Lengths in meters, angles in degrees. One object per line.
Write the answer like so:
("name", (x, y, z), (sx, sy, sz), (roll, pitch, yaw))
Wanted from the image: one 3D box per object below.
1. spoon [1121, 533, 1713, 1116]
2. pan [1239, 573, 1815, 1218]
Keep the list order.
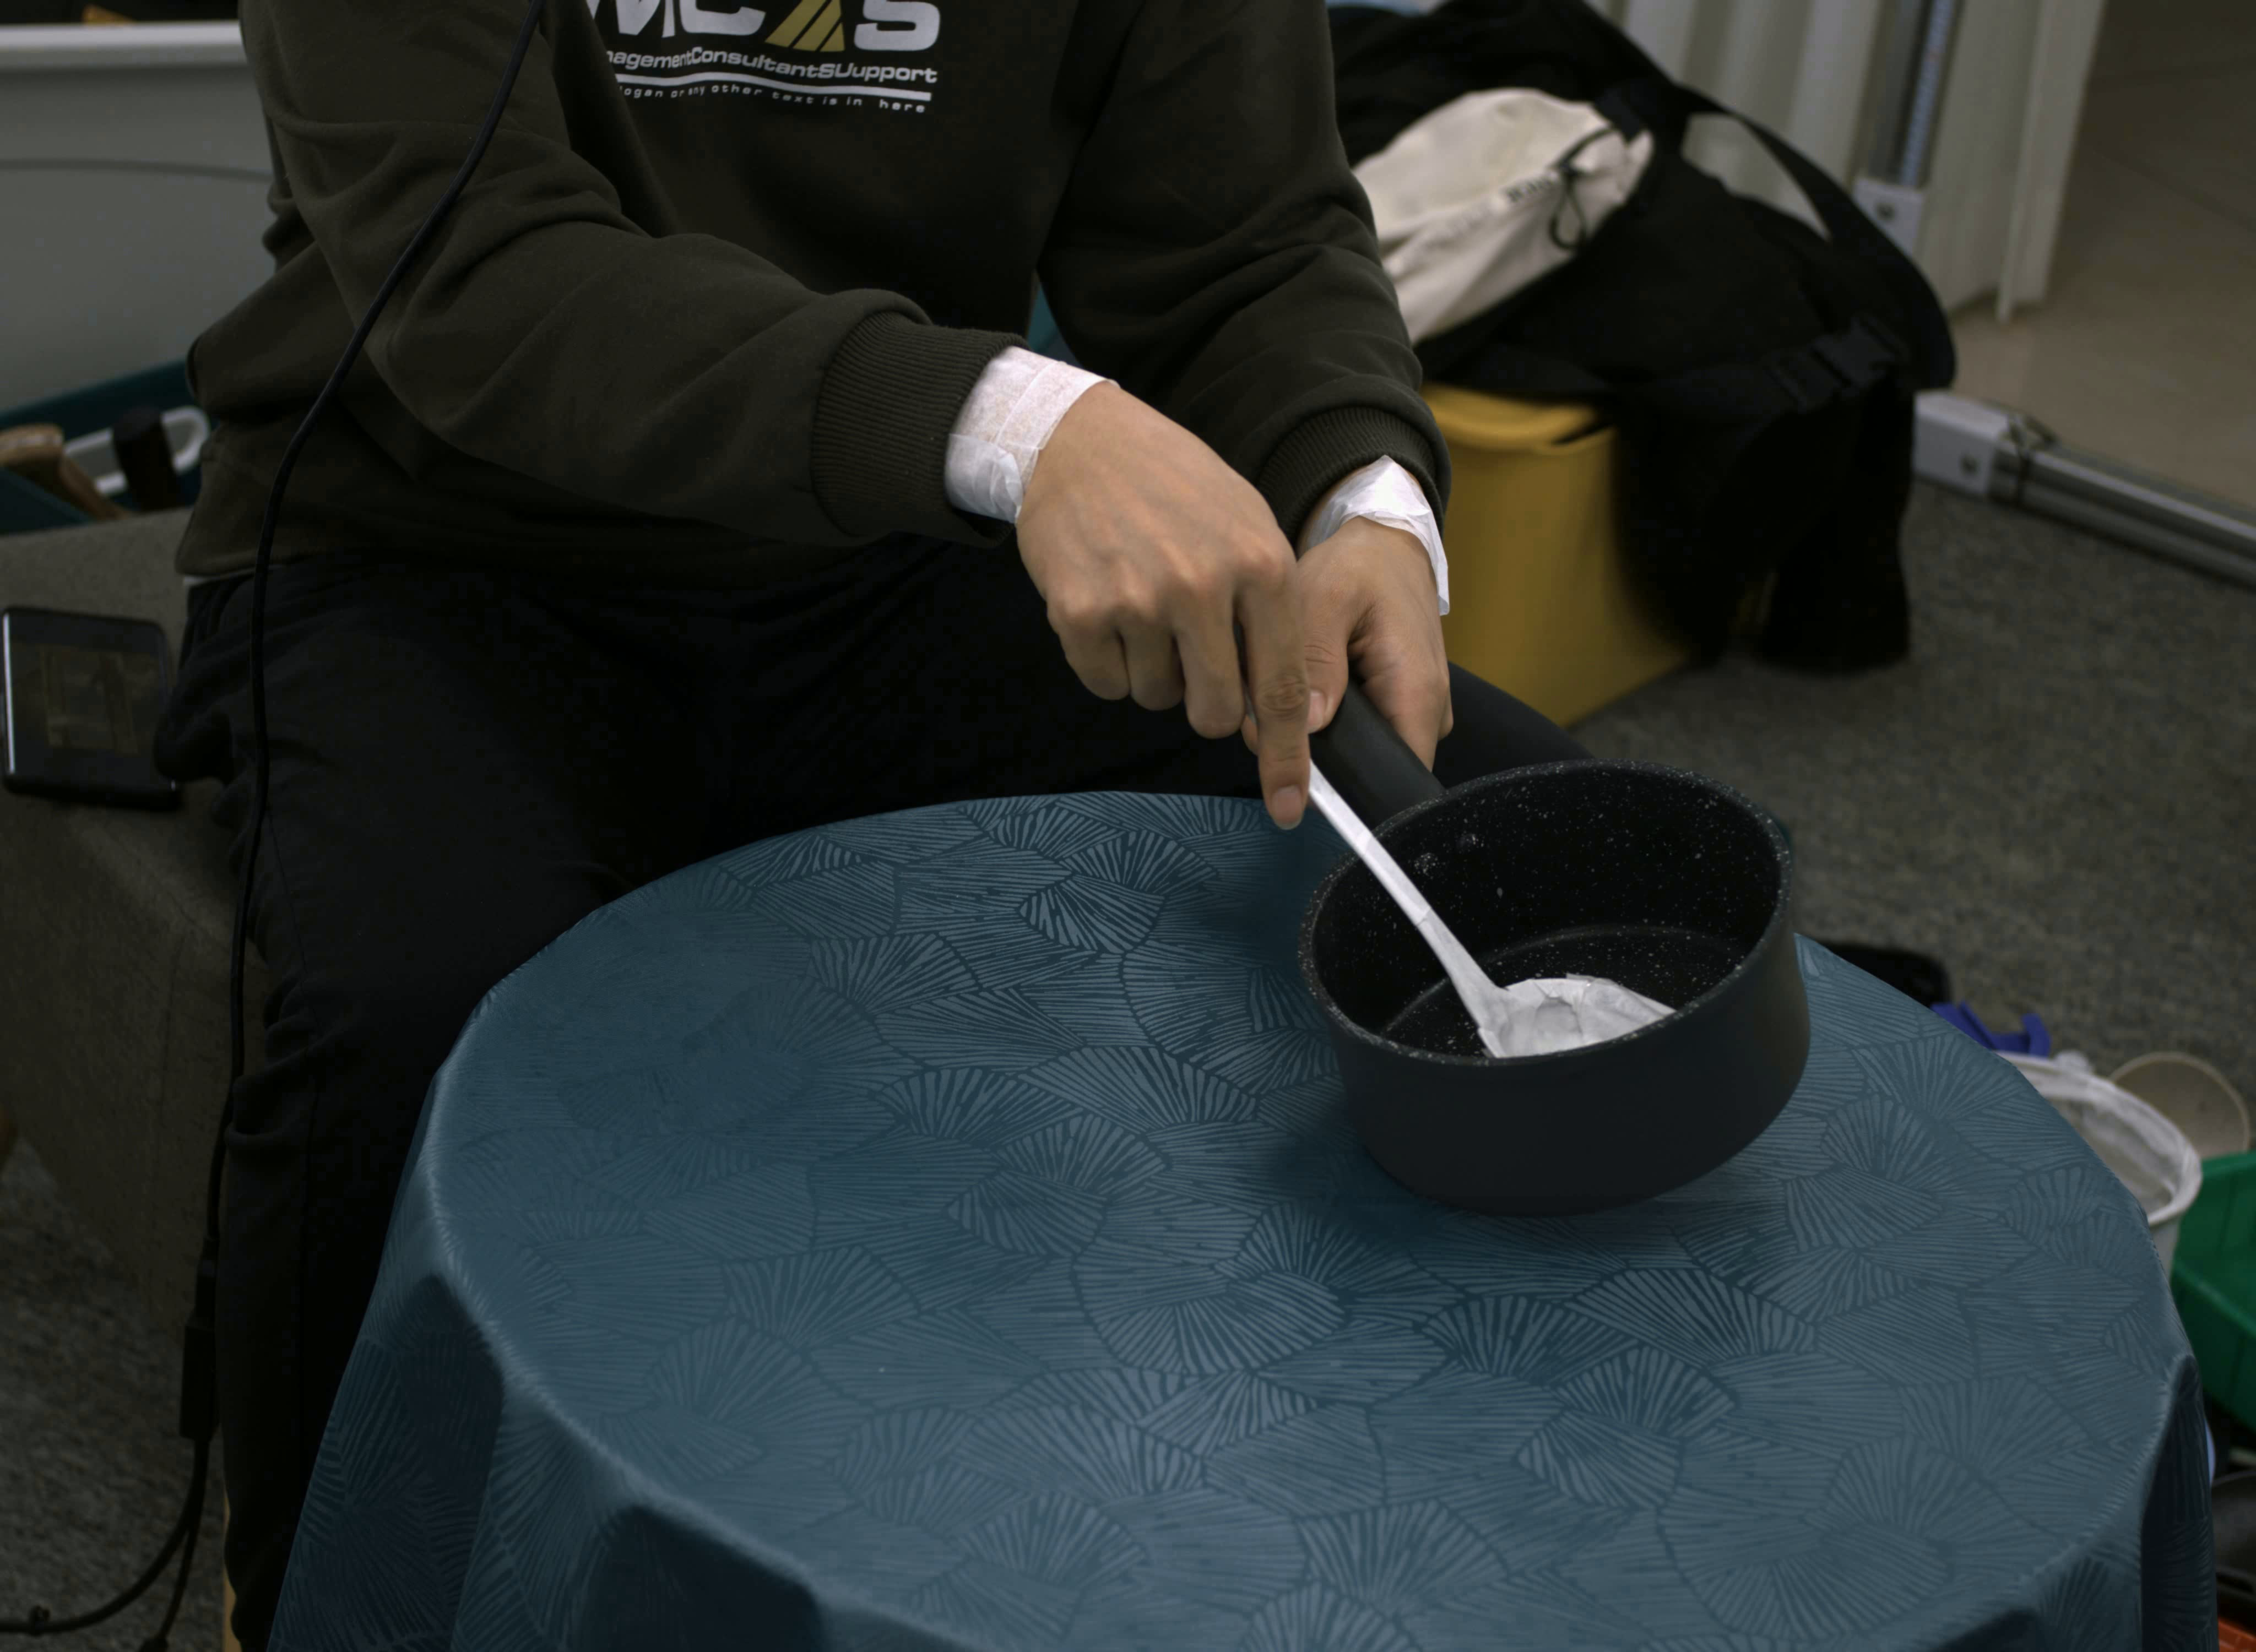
("spoon", (0.102, -0.004, 1.823), (0.278, 0.059, 0.100), (53, 26, 3))
("pan", (0.120, 0.018, 1.899), (0.171, 0.086, 0.332), (-22, 35, -11))
